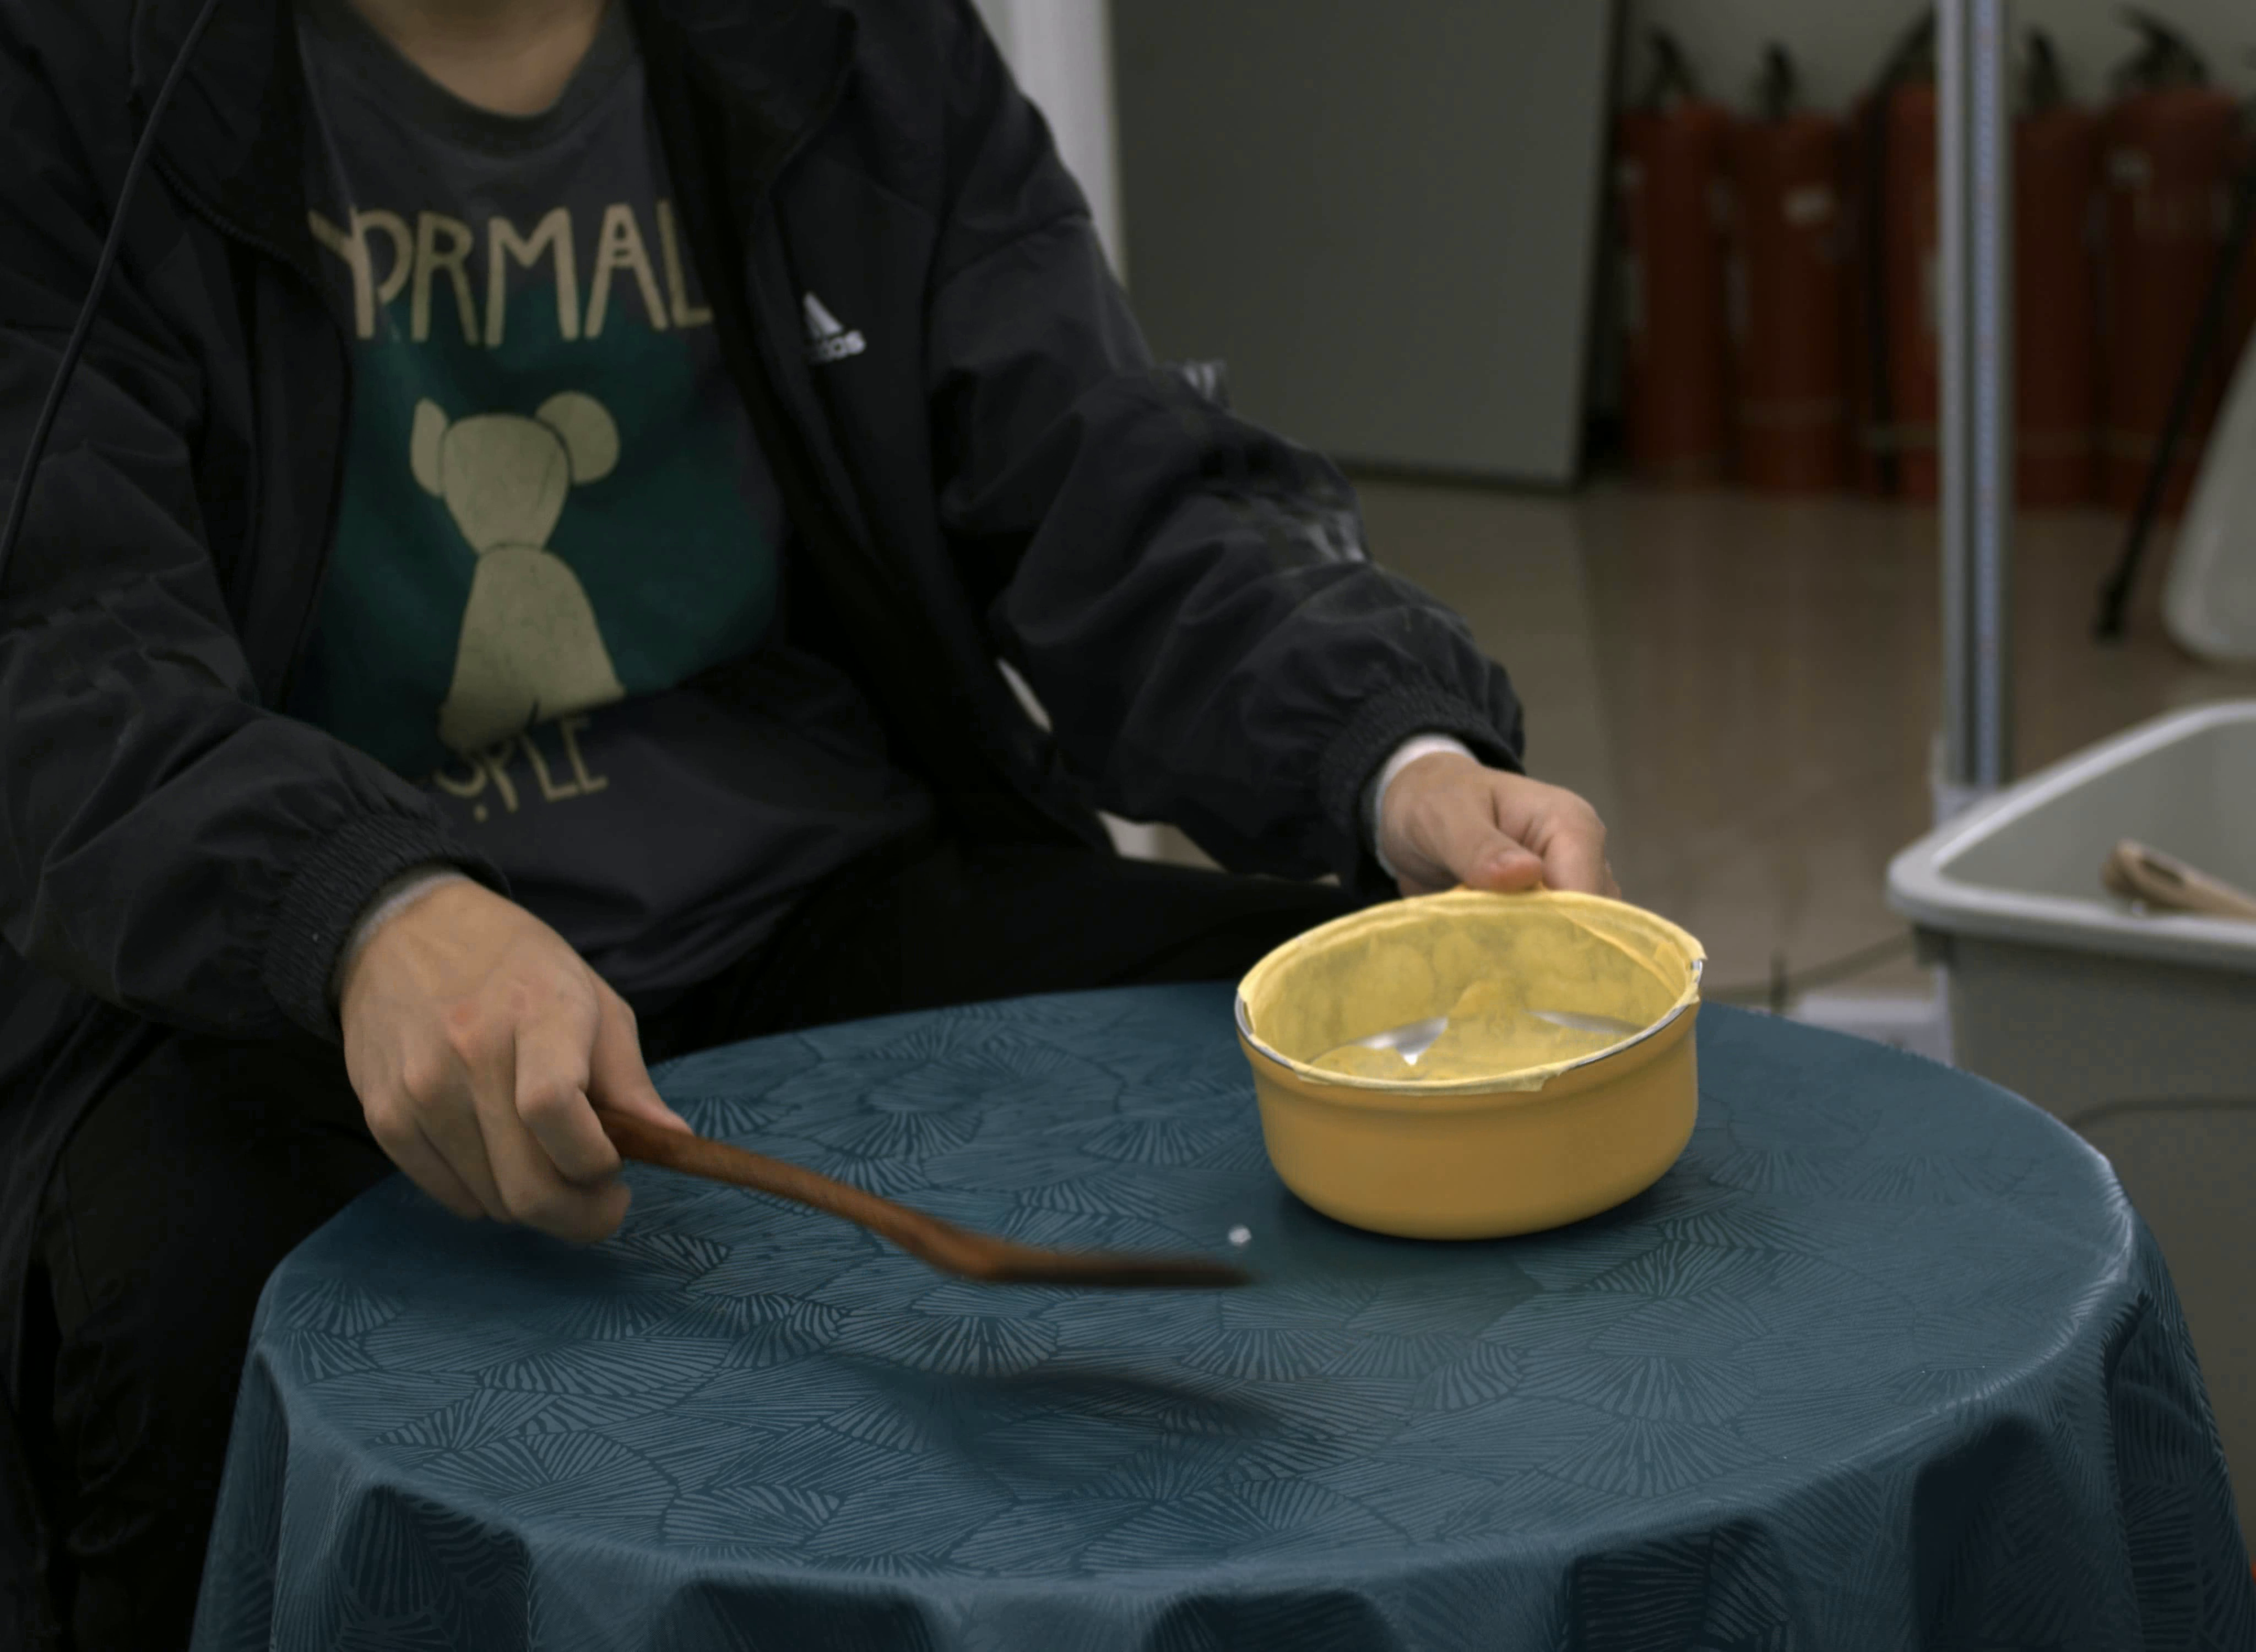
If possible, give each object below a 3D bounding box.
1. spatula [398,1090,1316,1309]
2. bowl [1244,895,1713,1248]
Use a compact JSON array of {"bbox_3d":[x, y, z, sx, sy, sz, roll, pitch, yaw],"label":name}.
[{"bbox_3d":[-0.102,0.118,1.662,0.390,0.024,0.083,10,3,45],"label":"spatula"},{"bbox_3d":[0.117,0.078,1.755,0.151,0.075,0.179,-4,21,8],"label":"bowl"}]
